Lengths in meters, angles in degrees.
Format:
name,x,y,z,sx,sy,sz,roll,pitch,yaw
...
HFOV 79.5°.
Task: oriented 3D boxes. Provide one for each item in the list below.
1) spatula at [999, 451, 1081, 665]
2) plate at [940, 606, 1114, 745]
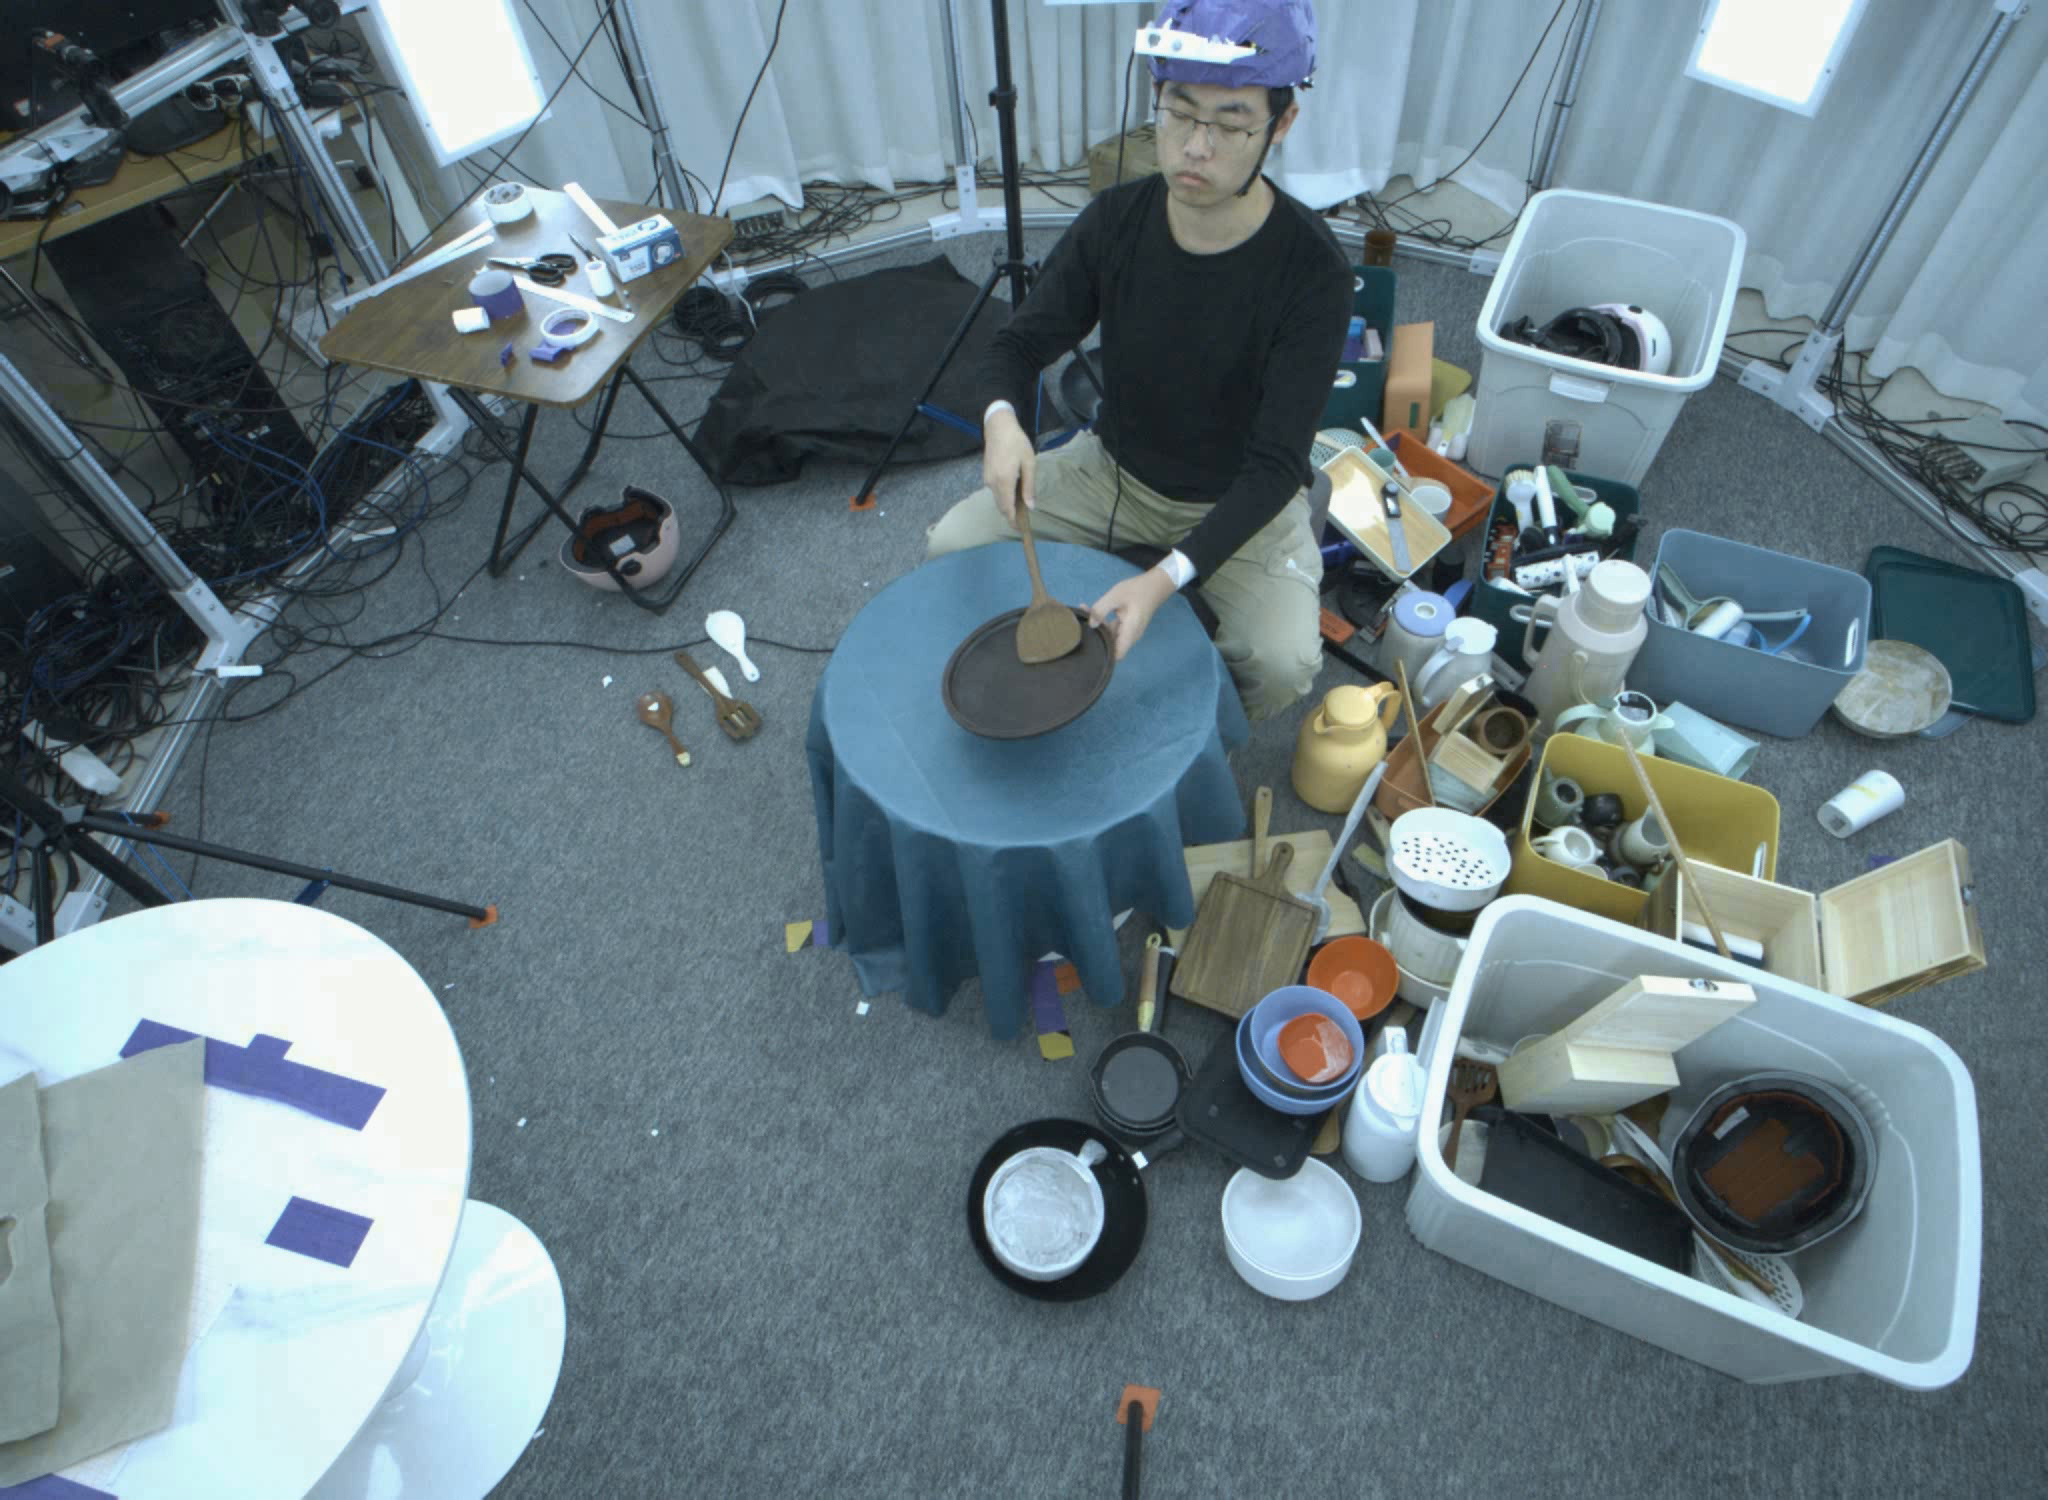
name,x,y,z,sx,sy,sz,roll,pitch,yaw
spatula,0.006,-0.294,1.805,0.095,0.016,0.381,-17,66,11
plate,0.005,-0.107,1.726,0.253,0.029,0.252,-10,49,13
